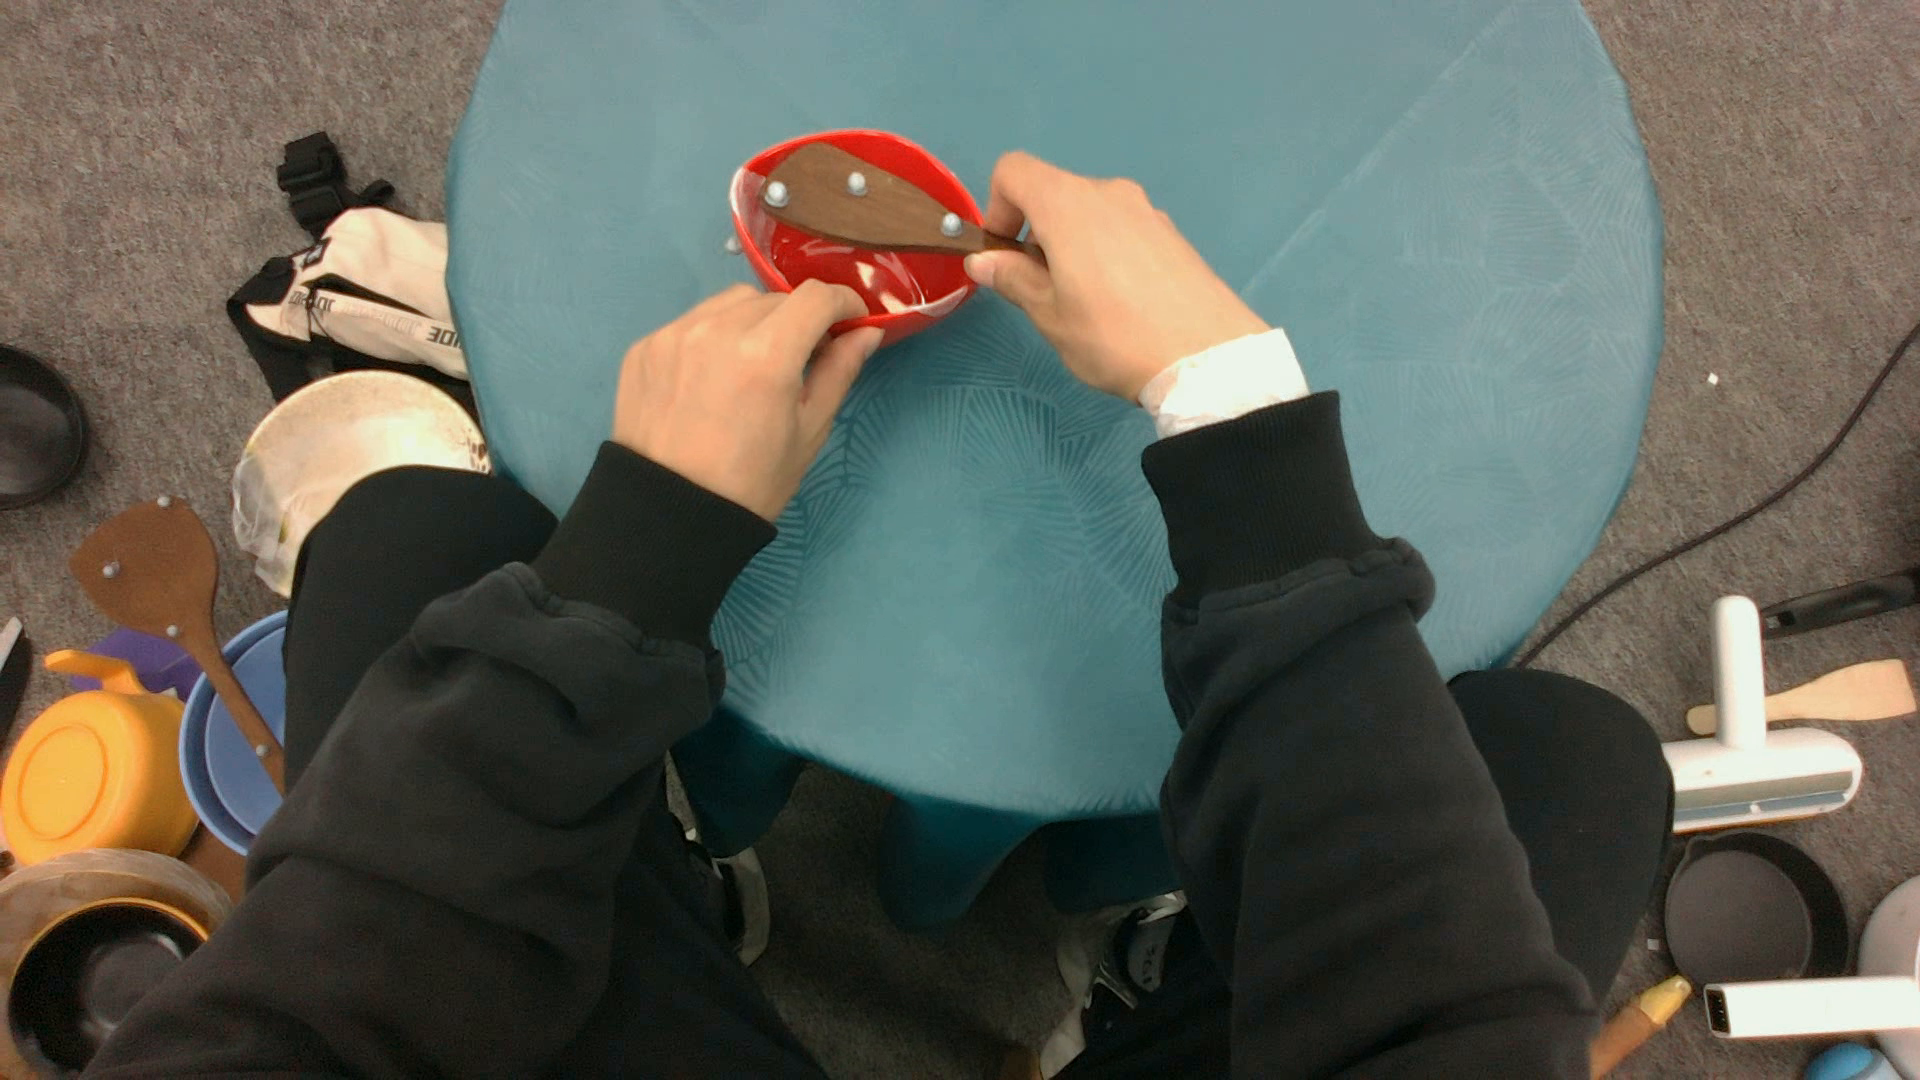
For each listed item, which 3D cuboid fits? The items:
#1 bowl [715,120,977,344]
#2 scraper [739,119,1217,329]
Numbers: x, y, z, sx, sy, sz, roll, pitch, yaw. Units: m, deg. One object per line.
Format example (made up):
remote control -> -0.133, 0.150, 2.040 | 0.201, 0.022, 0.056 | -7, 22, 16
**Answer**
bowl -> -0.055, -0.133, 0.629 | 0.119, 0.051, 0.119 | 8, 56, -11
scraper -> 0.010, -0.132, 0.594 | 0.211, 0.011, 0.076 | 21, 42, 5
